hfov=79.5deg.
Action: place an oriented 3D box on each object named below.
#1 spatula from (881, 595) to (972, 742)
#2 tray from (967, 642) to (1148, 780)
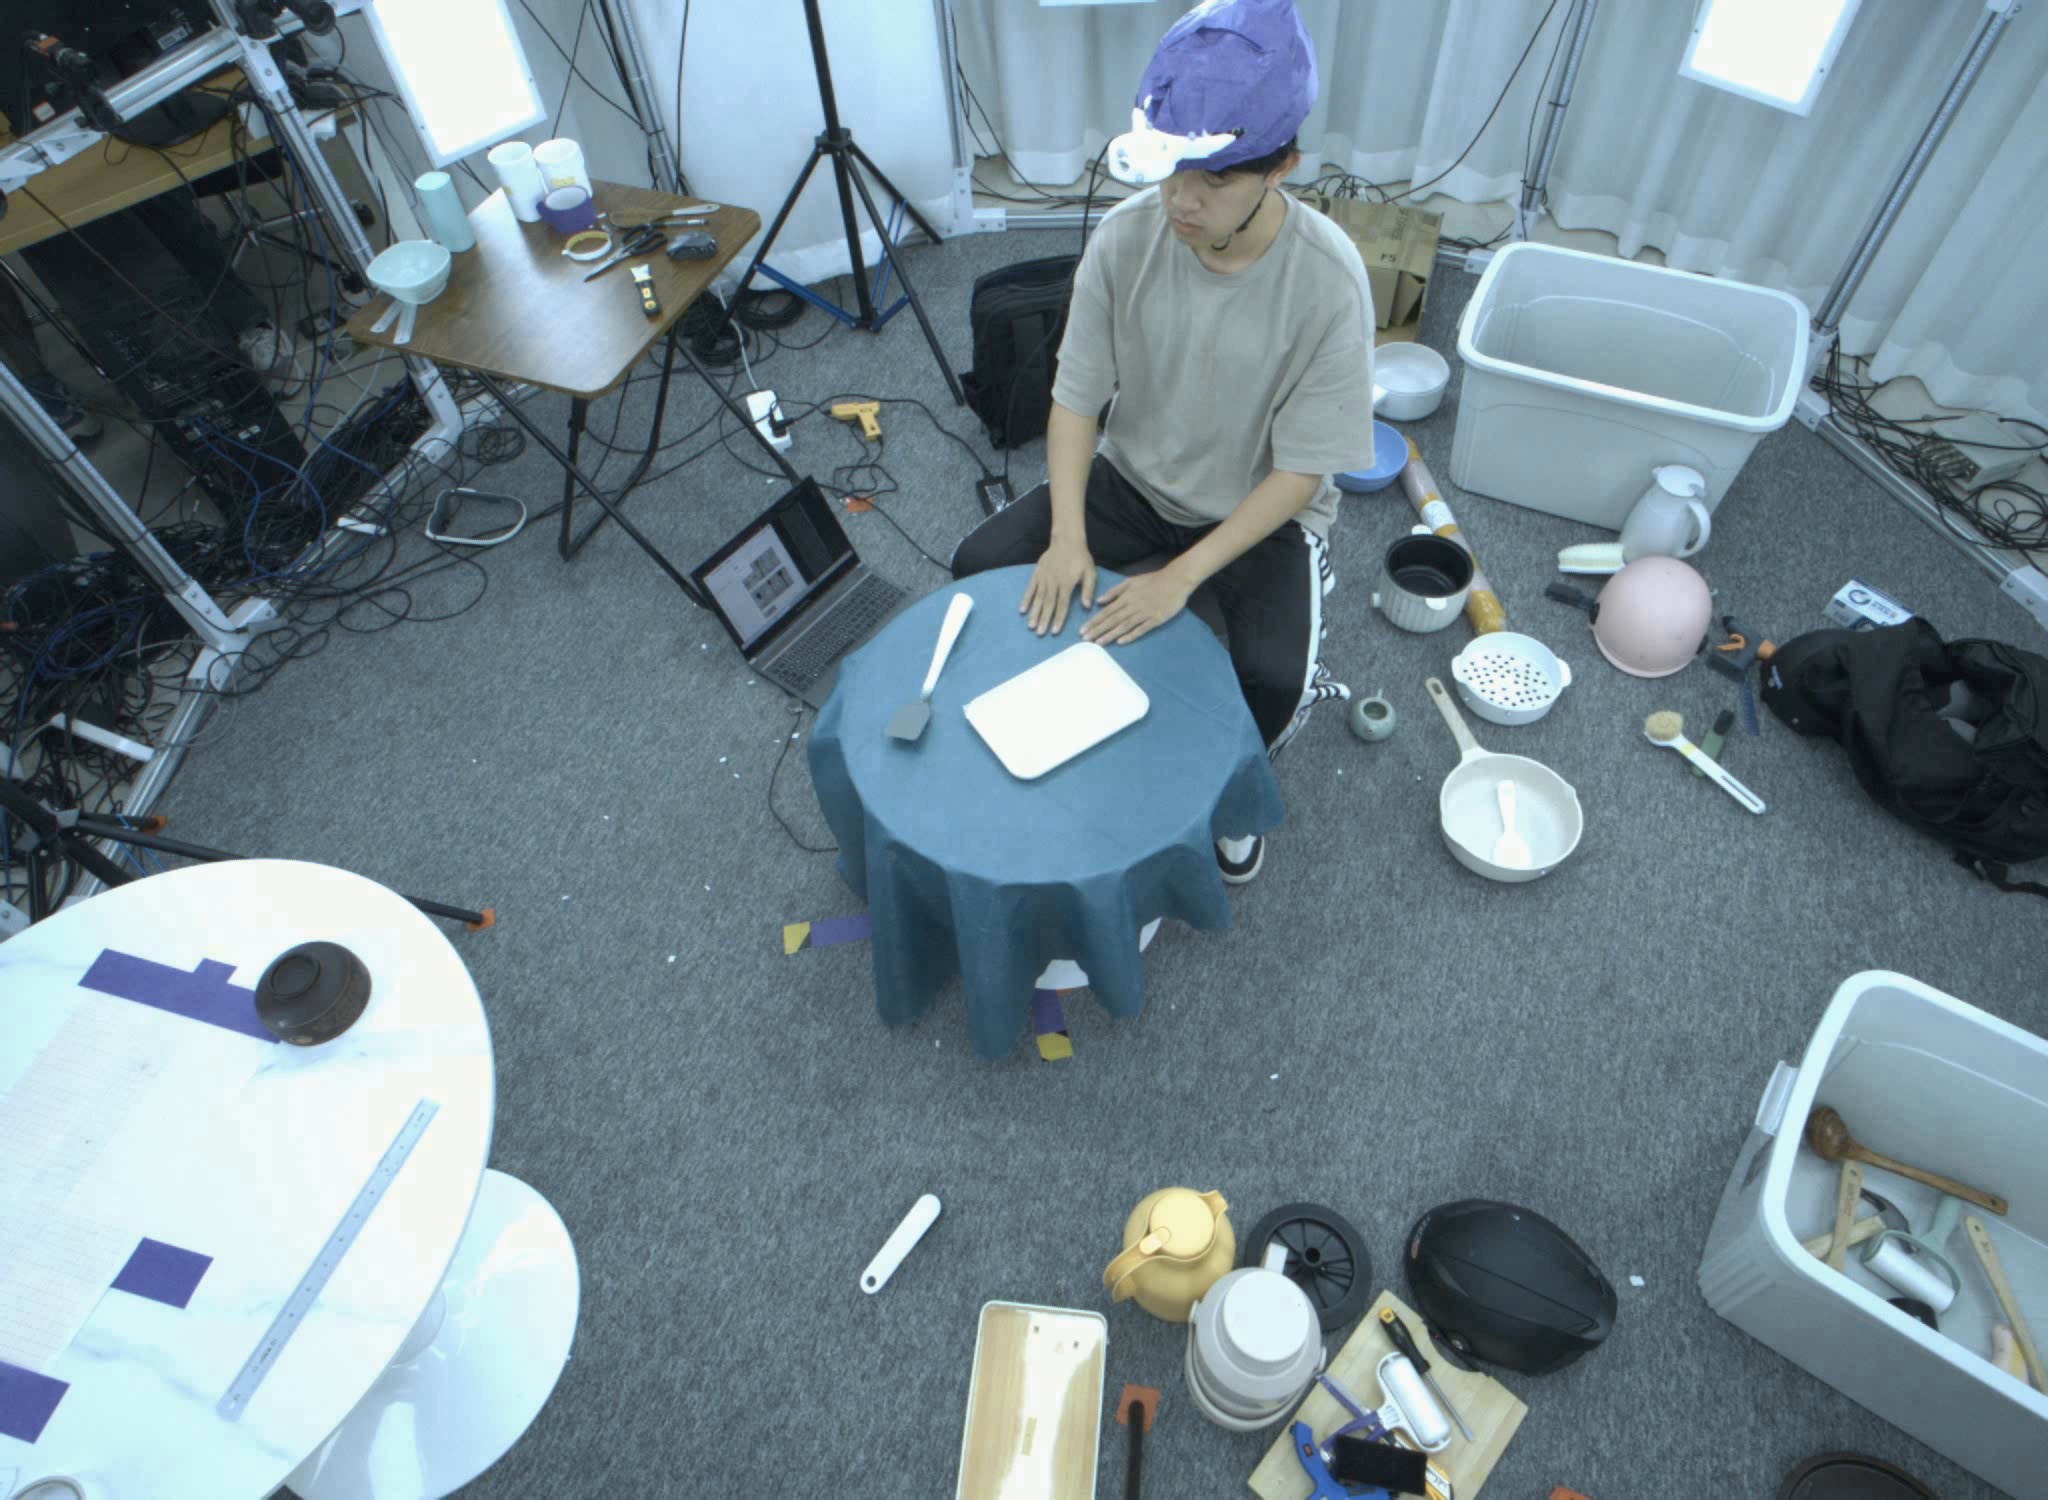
[{"bbox_3d":[-0.140,-0.122,1.855,0.058,0.032,0.287,15,57,9],"label":"spatula"},{"bbox_3d":[0.050,-0.059,1.814,0.241,0.017,0.168,-29,60,-17],"label":"tray"}]
